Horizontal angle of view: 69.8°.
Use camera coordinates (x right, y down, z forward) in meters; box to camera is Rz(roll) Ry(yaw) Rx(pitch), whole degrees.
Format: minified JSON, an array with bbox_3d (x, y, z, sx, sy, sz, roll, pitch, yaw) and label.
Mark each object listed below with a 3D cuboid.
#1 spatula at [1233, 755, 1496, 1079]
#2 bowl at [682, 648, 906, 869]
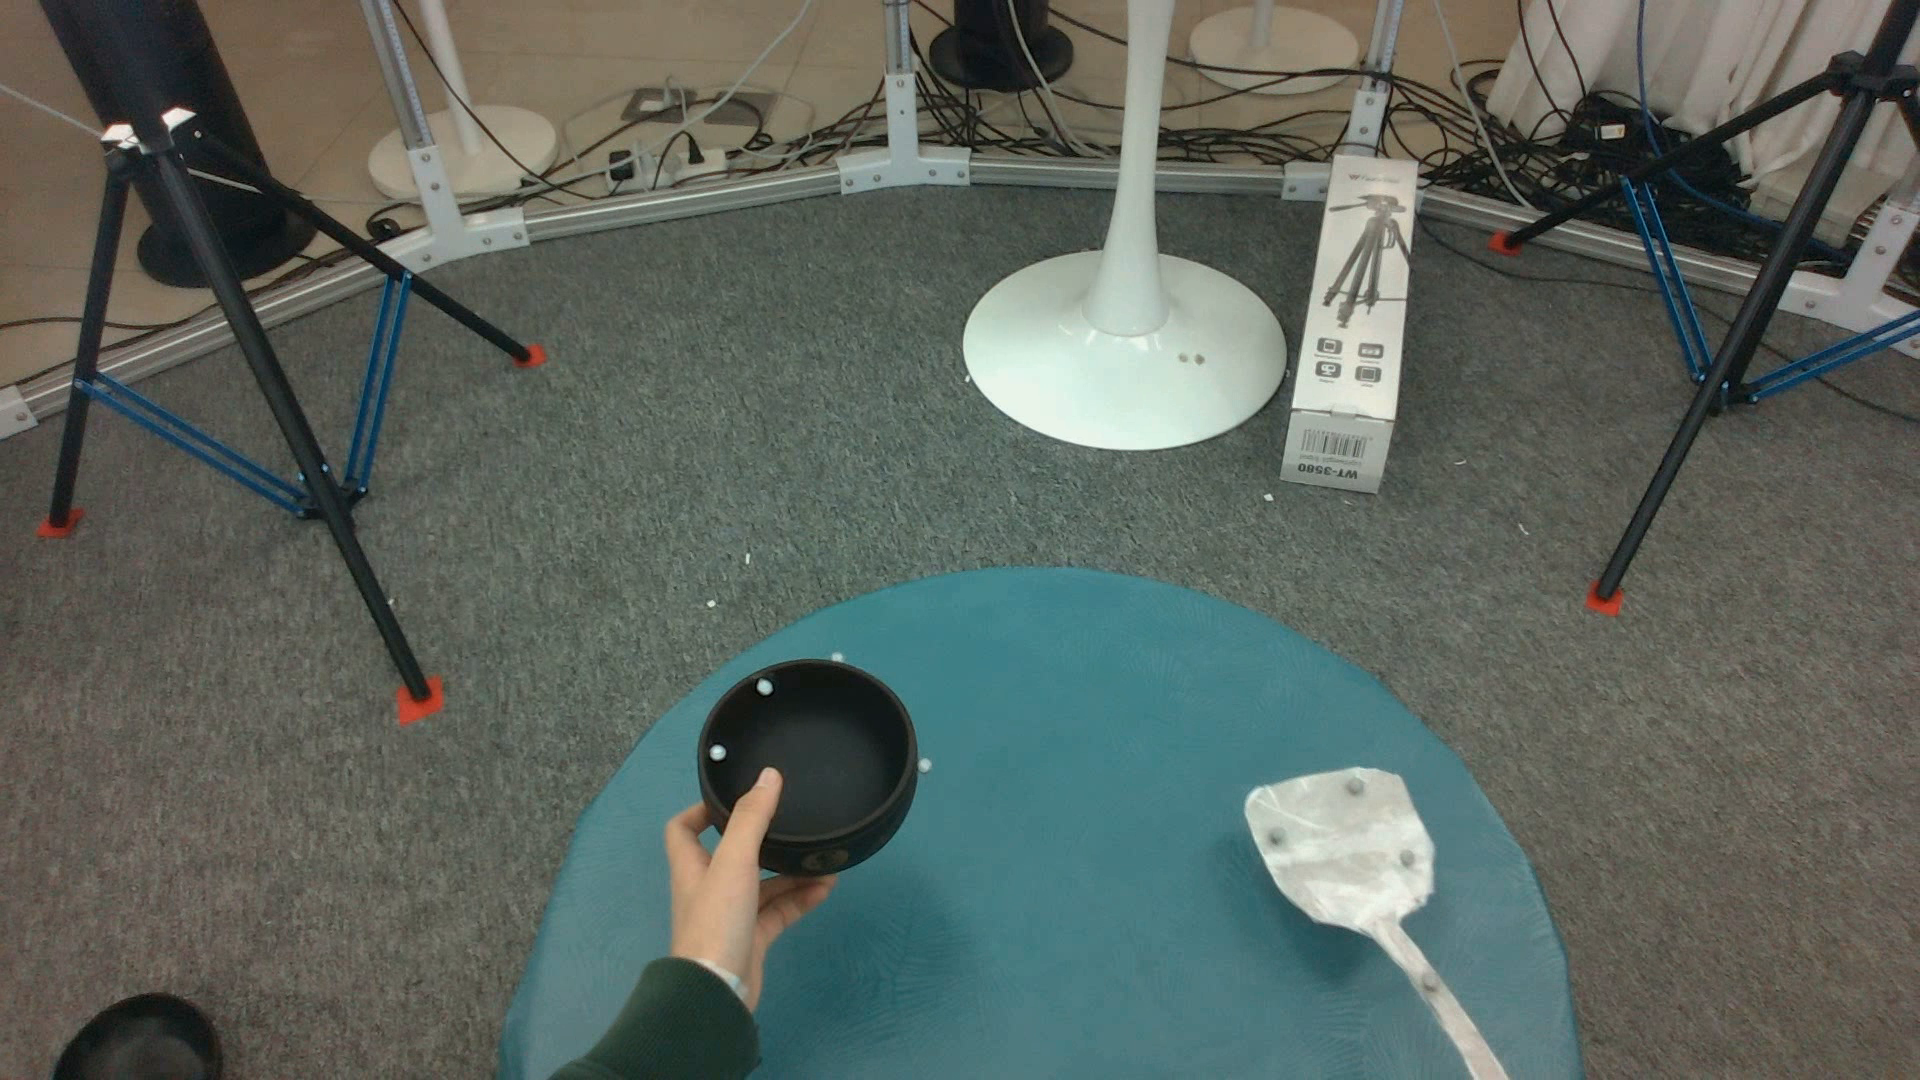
[{"bbox_3d":[0.232,0.224,0.672,0.099,0.044,0.366,-8,25,-6],"label":"spatula"},{"bbox_3d":[-0.088,0.124,0.746,0.118,0.069,0.118,1,51,-1],"label":"bowl"}]
